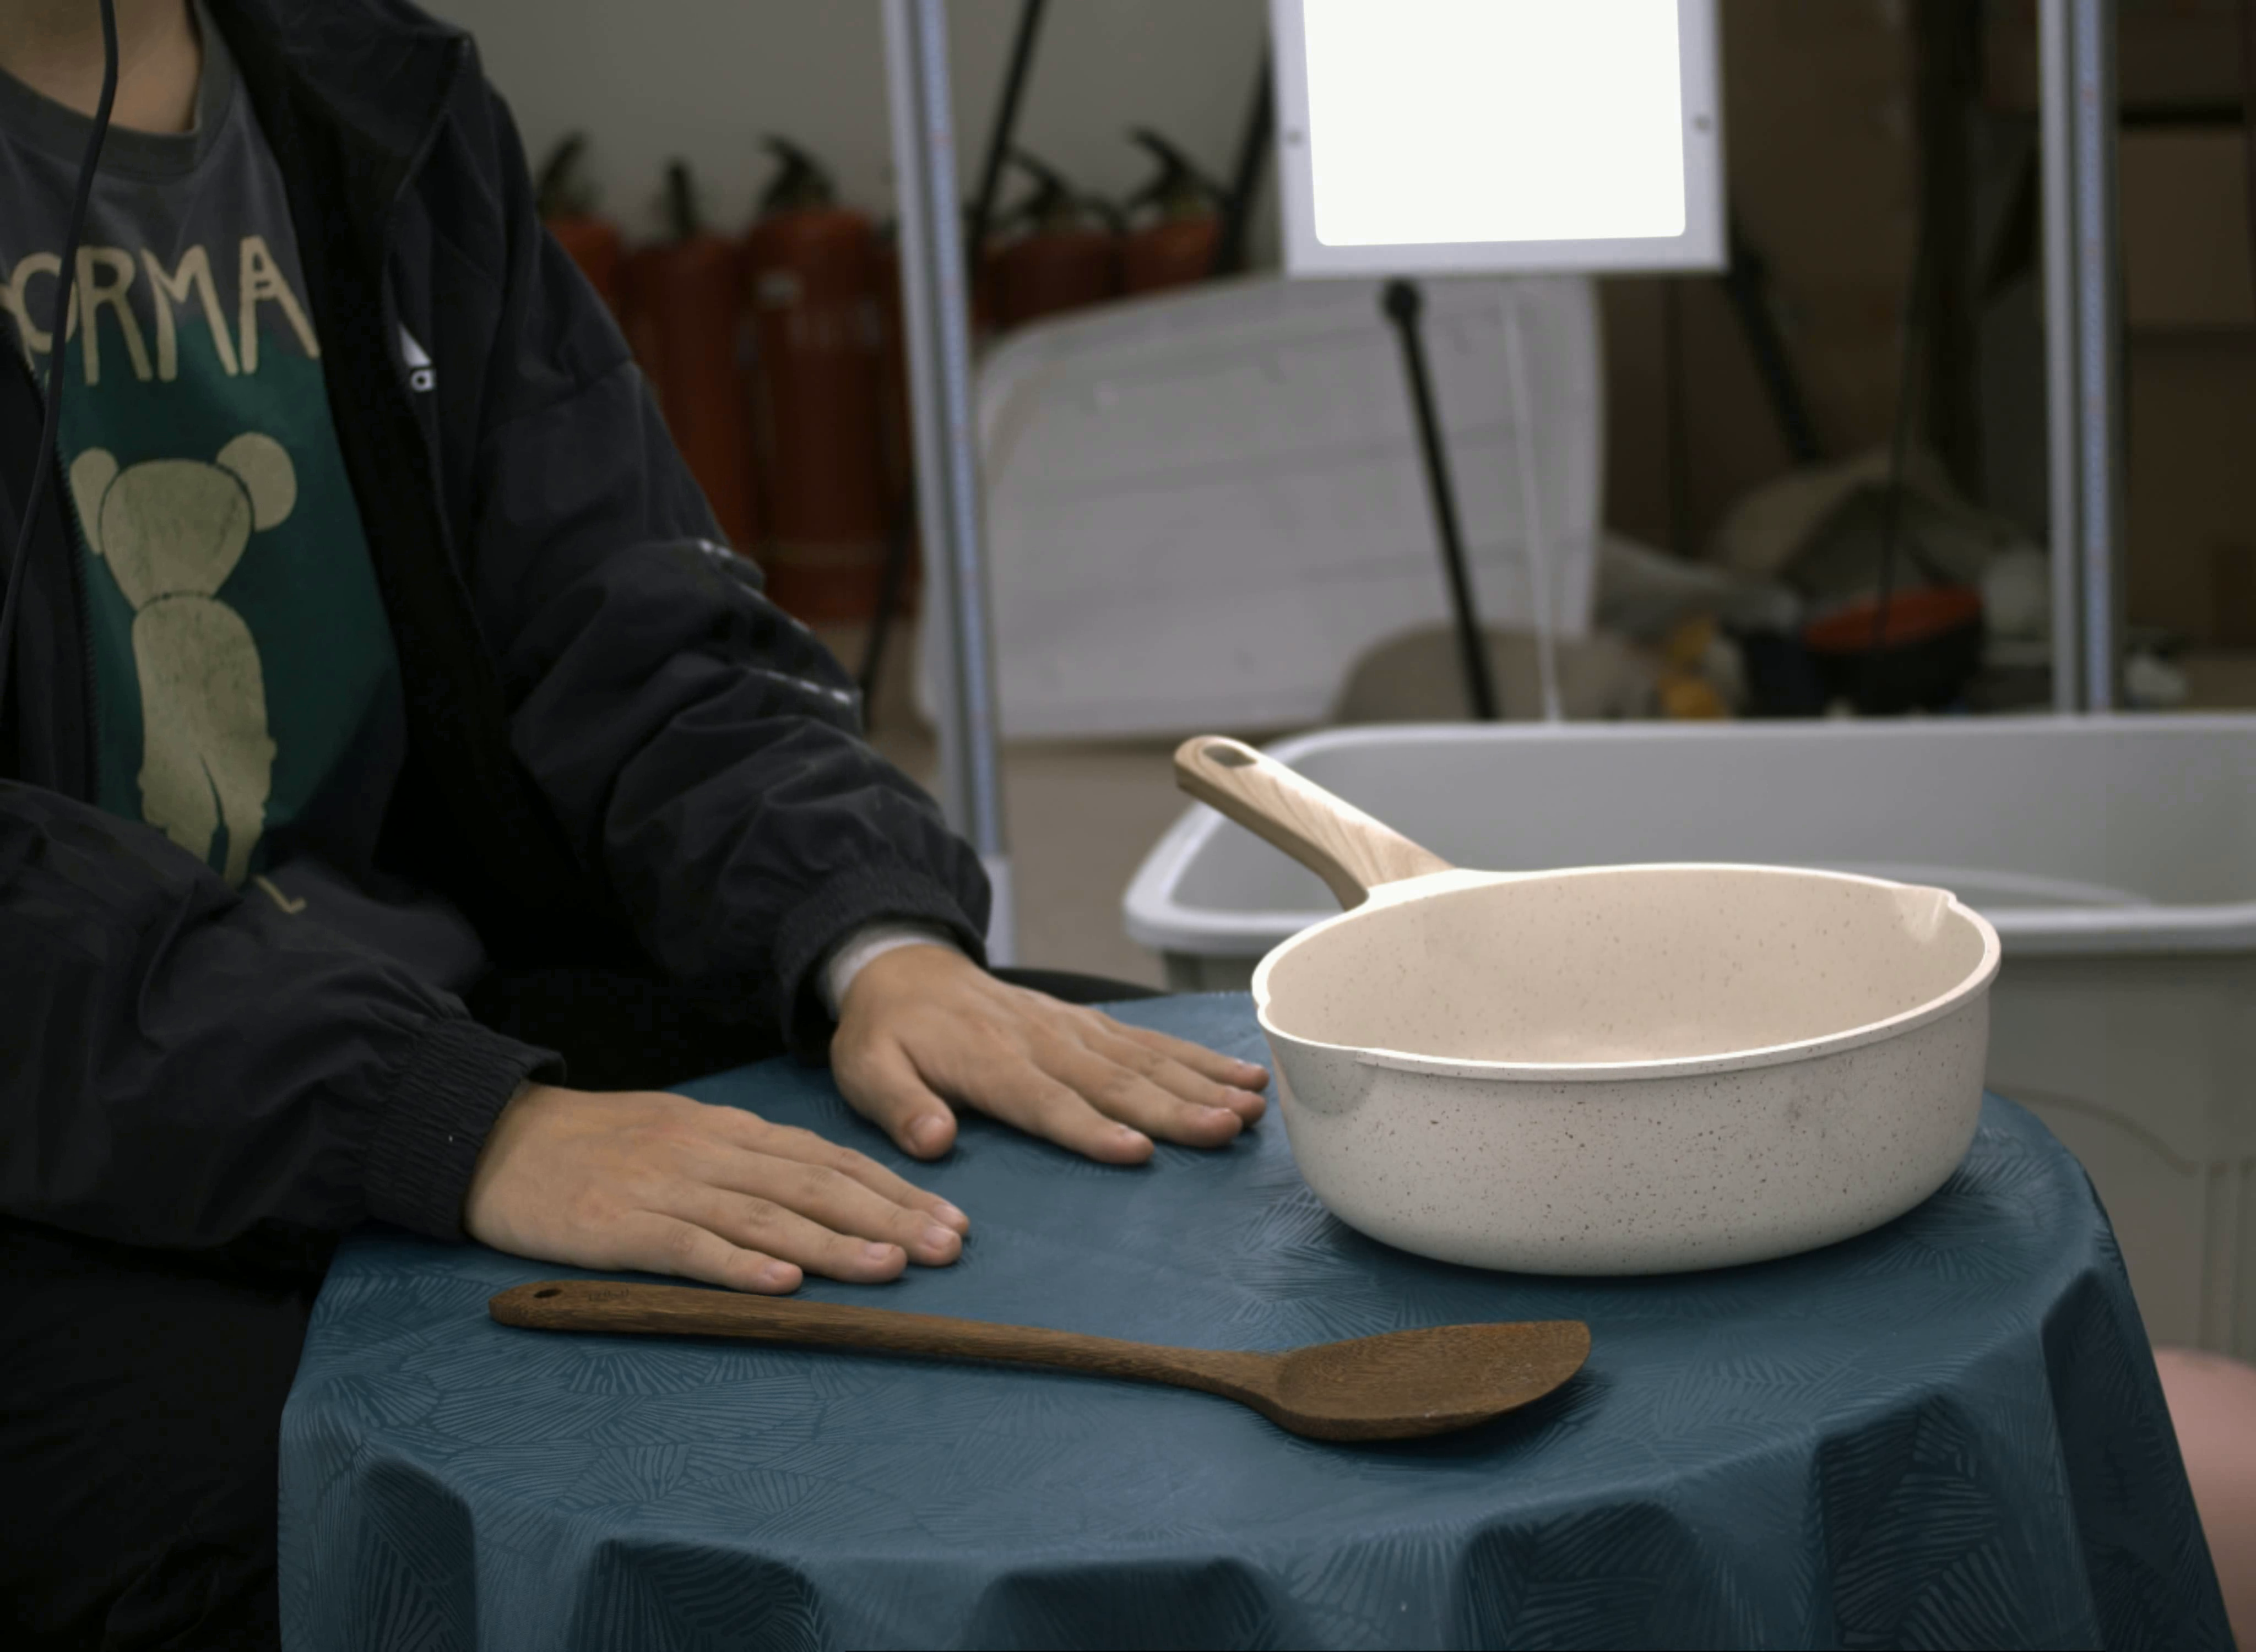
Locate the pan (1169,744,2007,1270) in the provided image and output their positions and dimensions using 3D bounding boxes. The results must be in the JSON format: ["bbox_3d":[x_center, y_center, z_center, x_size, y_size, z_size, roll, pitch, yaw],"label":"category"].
[{"bbox_3d":[0.131,0.056,1.923,0.258,0.102,0.442,-13,16,-24],"label":"pan"}]

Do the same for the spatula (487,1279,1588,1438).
[{"bbox_3d":[-0.040,0.162,1.734,0.393,0.016,0.094,2,15,29],"label":"spatula"}]
